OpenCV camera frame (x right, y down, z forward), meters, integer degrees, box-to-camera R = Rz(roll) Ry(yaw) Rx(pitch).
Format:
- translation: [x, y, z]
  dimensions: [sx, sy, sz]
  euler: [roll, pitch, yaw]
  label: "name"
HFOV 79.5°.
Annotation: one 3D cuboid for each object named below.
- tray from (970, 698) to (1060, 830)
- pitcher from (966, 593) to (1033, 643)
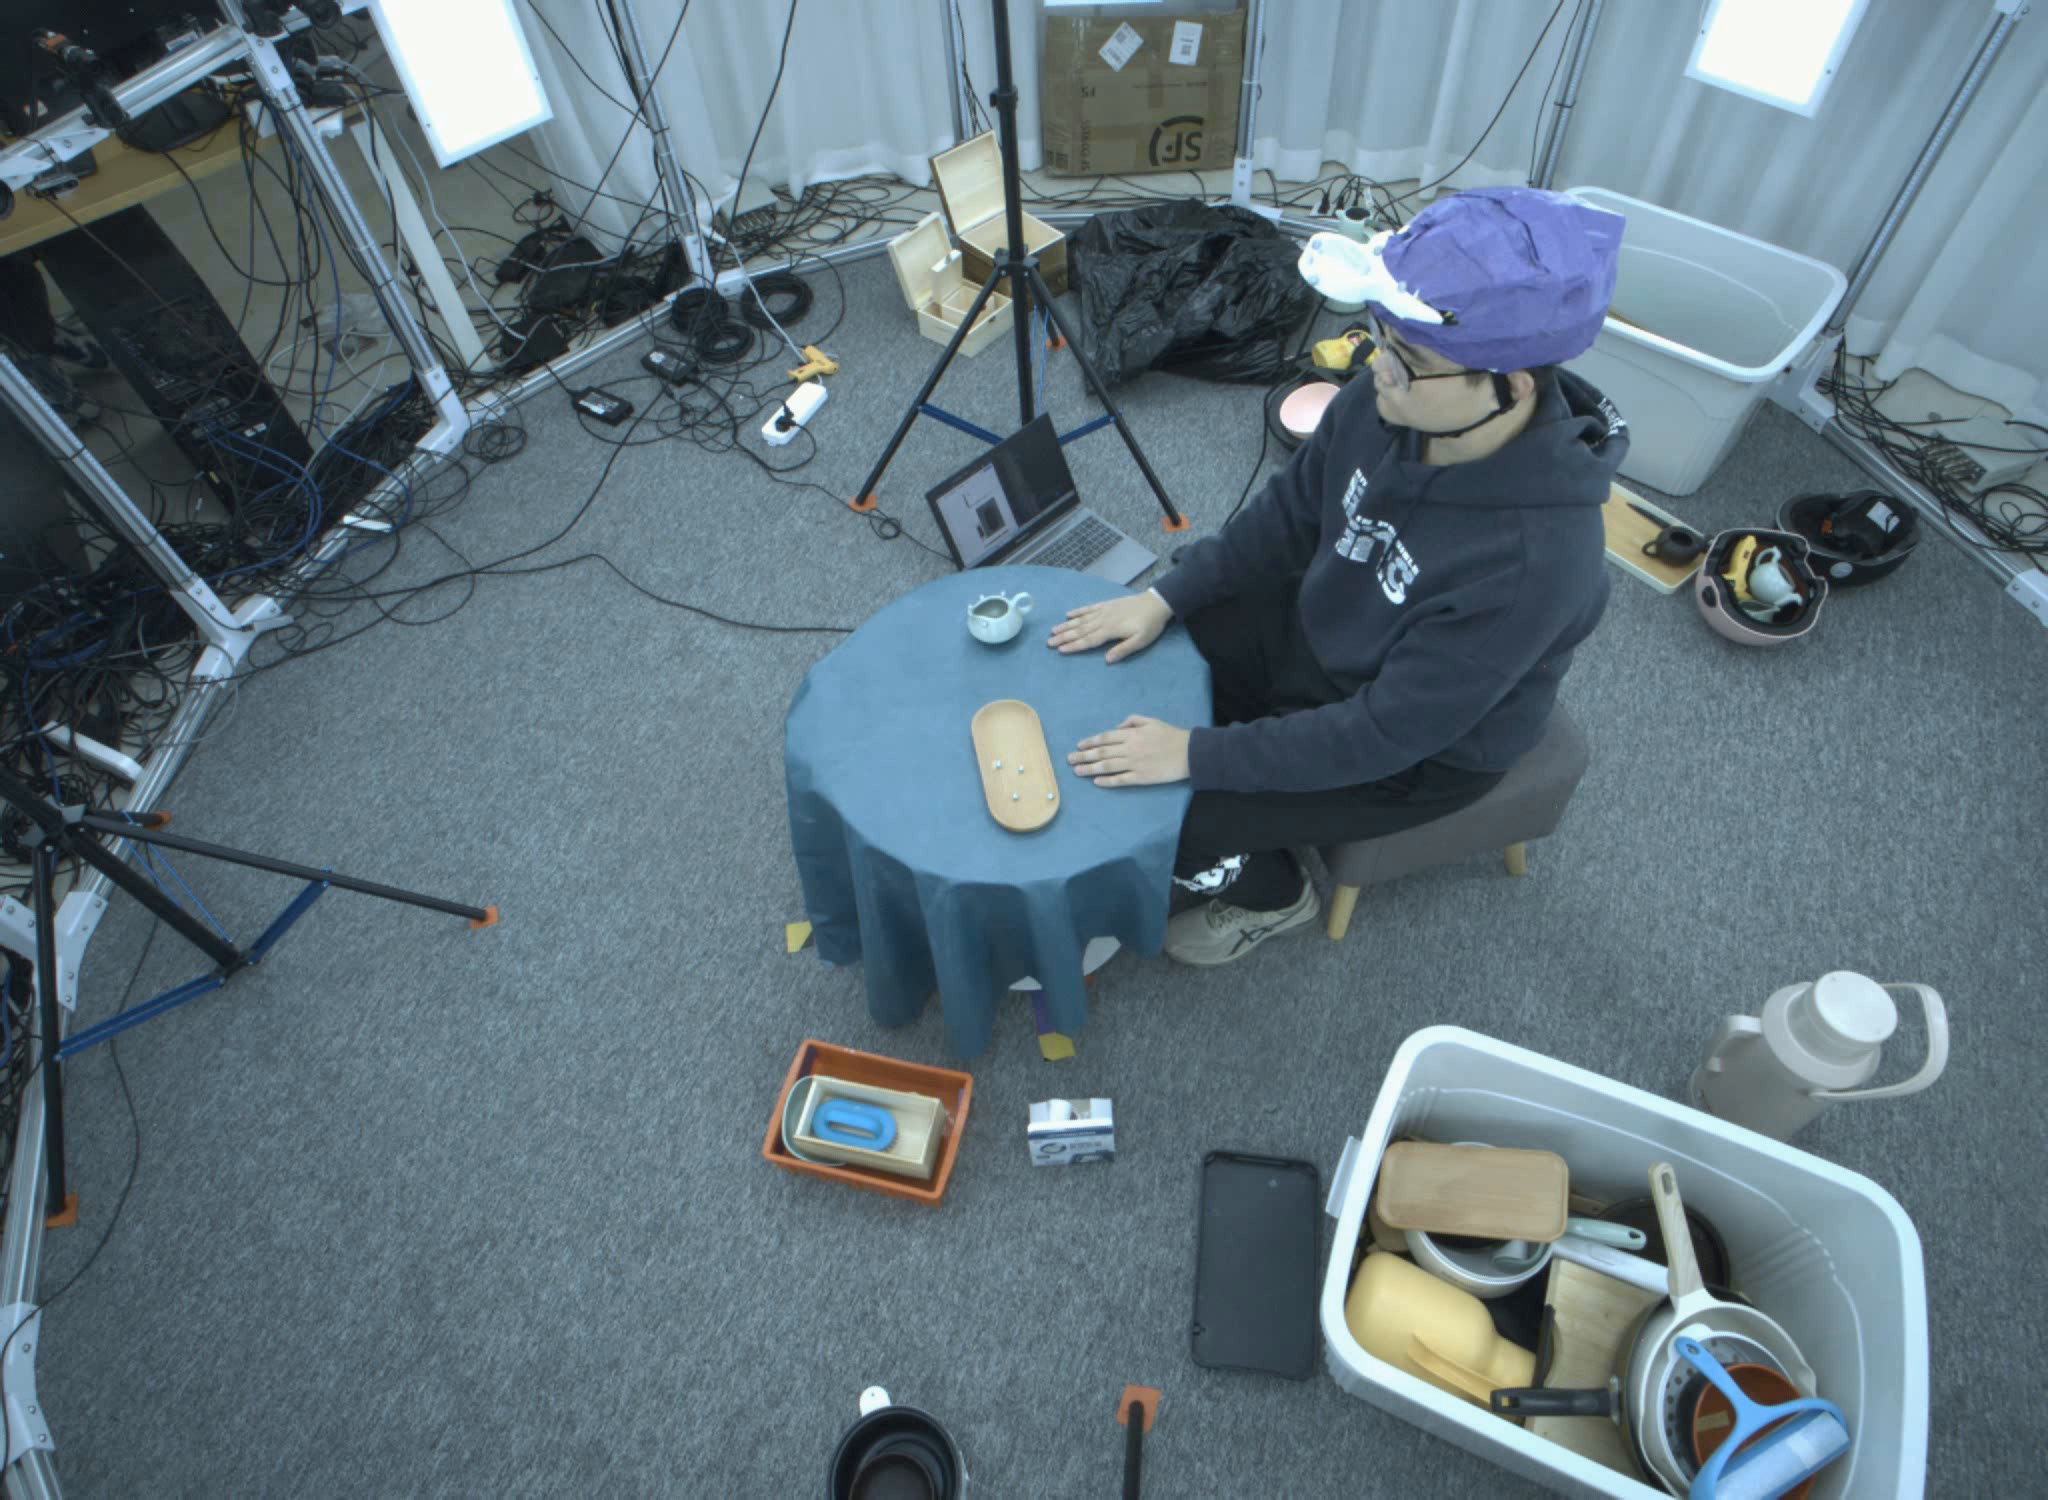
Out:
- translation: [-0.014, 0.018, 1.766]
  dimensions: [0.102, 0.020, 0.227]
  euler: [-10, 53, -7]
  label: "tray"
- translation: [-0.038, -0.210, 1.902]
  dimensions: [0.109, 0.061, 0.084]
  euler: [-19, 57, -14]
  label: "pitcher"
